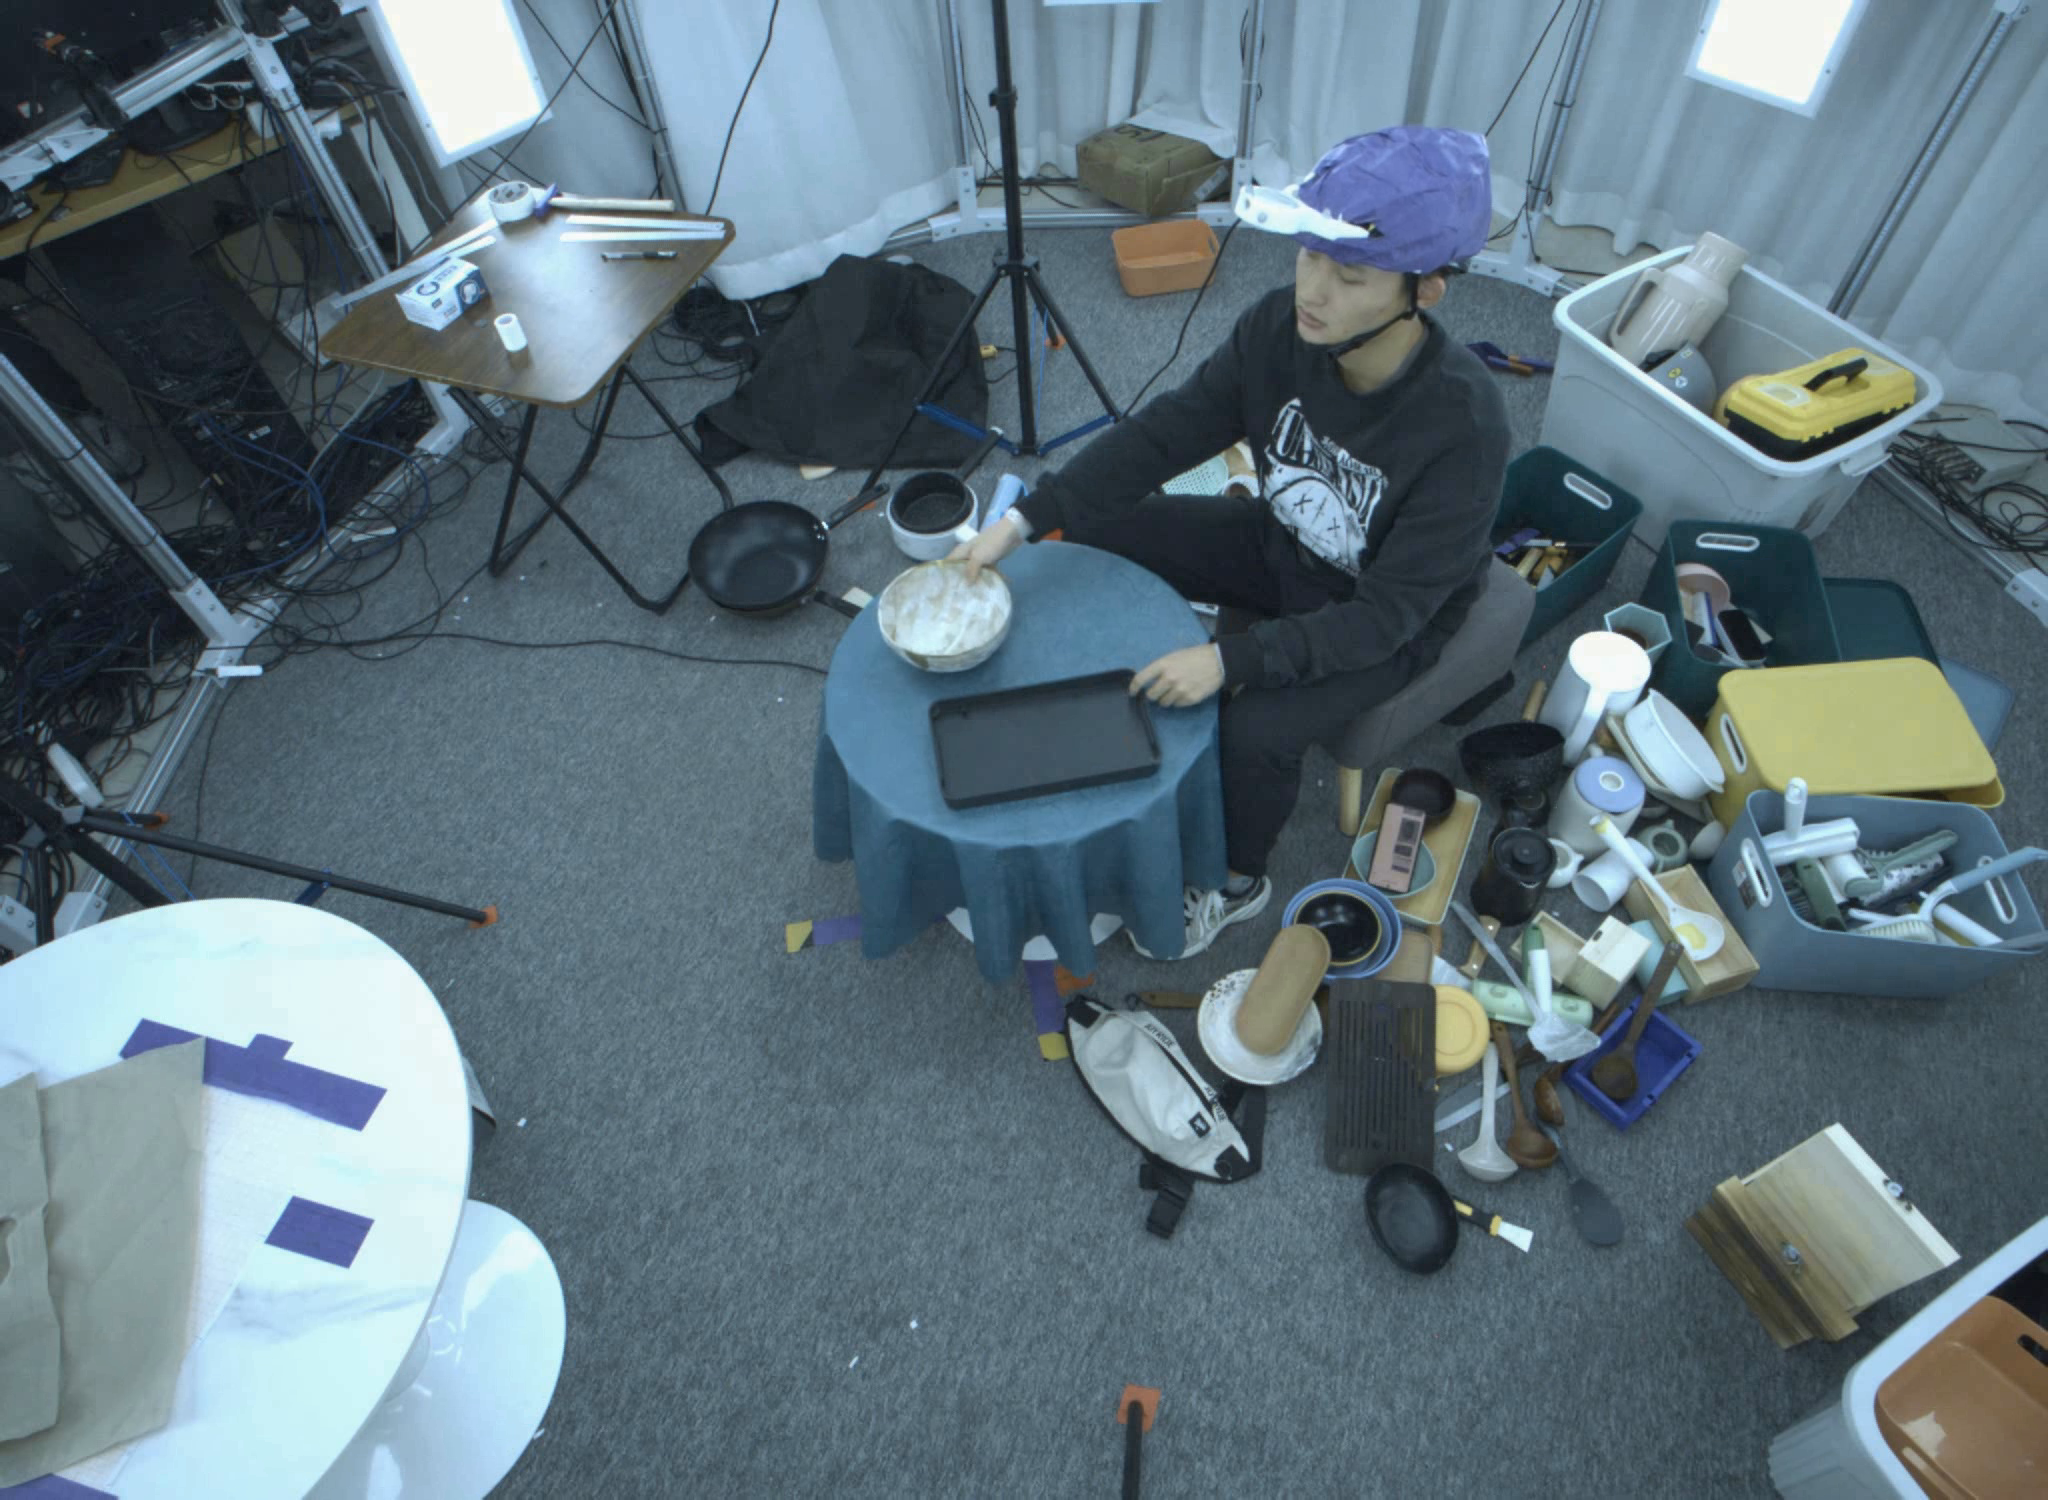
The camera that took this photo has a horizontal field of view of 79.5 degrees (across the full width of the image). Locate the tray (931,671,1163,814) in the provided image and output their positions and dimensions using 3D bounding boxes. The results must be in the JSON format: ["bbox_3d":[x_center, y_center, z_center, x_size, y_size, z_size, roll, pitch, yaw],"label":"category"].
[{"bbox_3d":[0.031,-0.012,1.786,0.319,0.037,0.182,-9,56,-3],"label":"tray"}]

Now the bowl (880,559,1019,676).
[{"bbox_3d":[-0.110,-0.184,1.873,0.214,0.095,0.212,-1,54,3],"label":"bowl"}]
